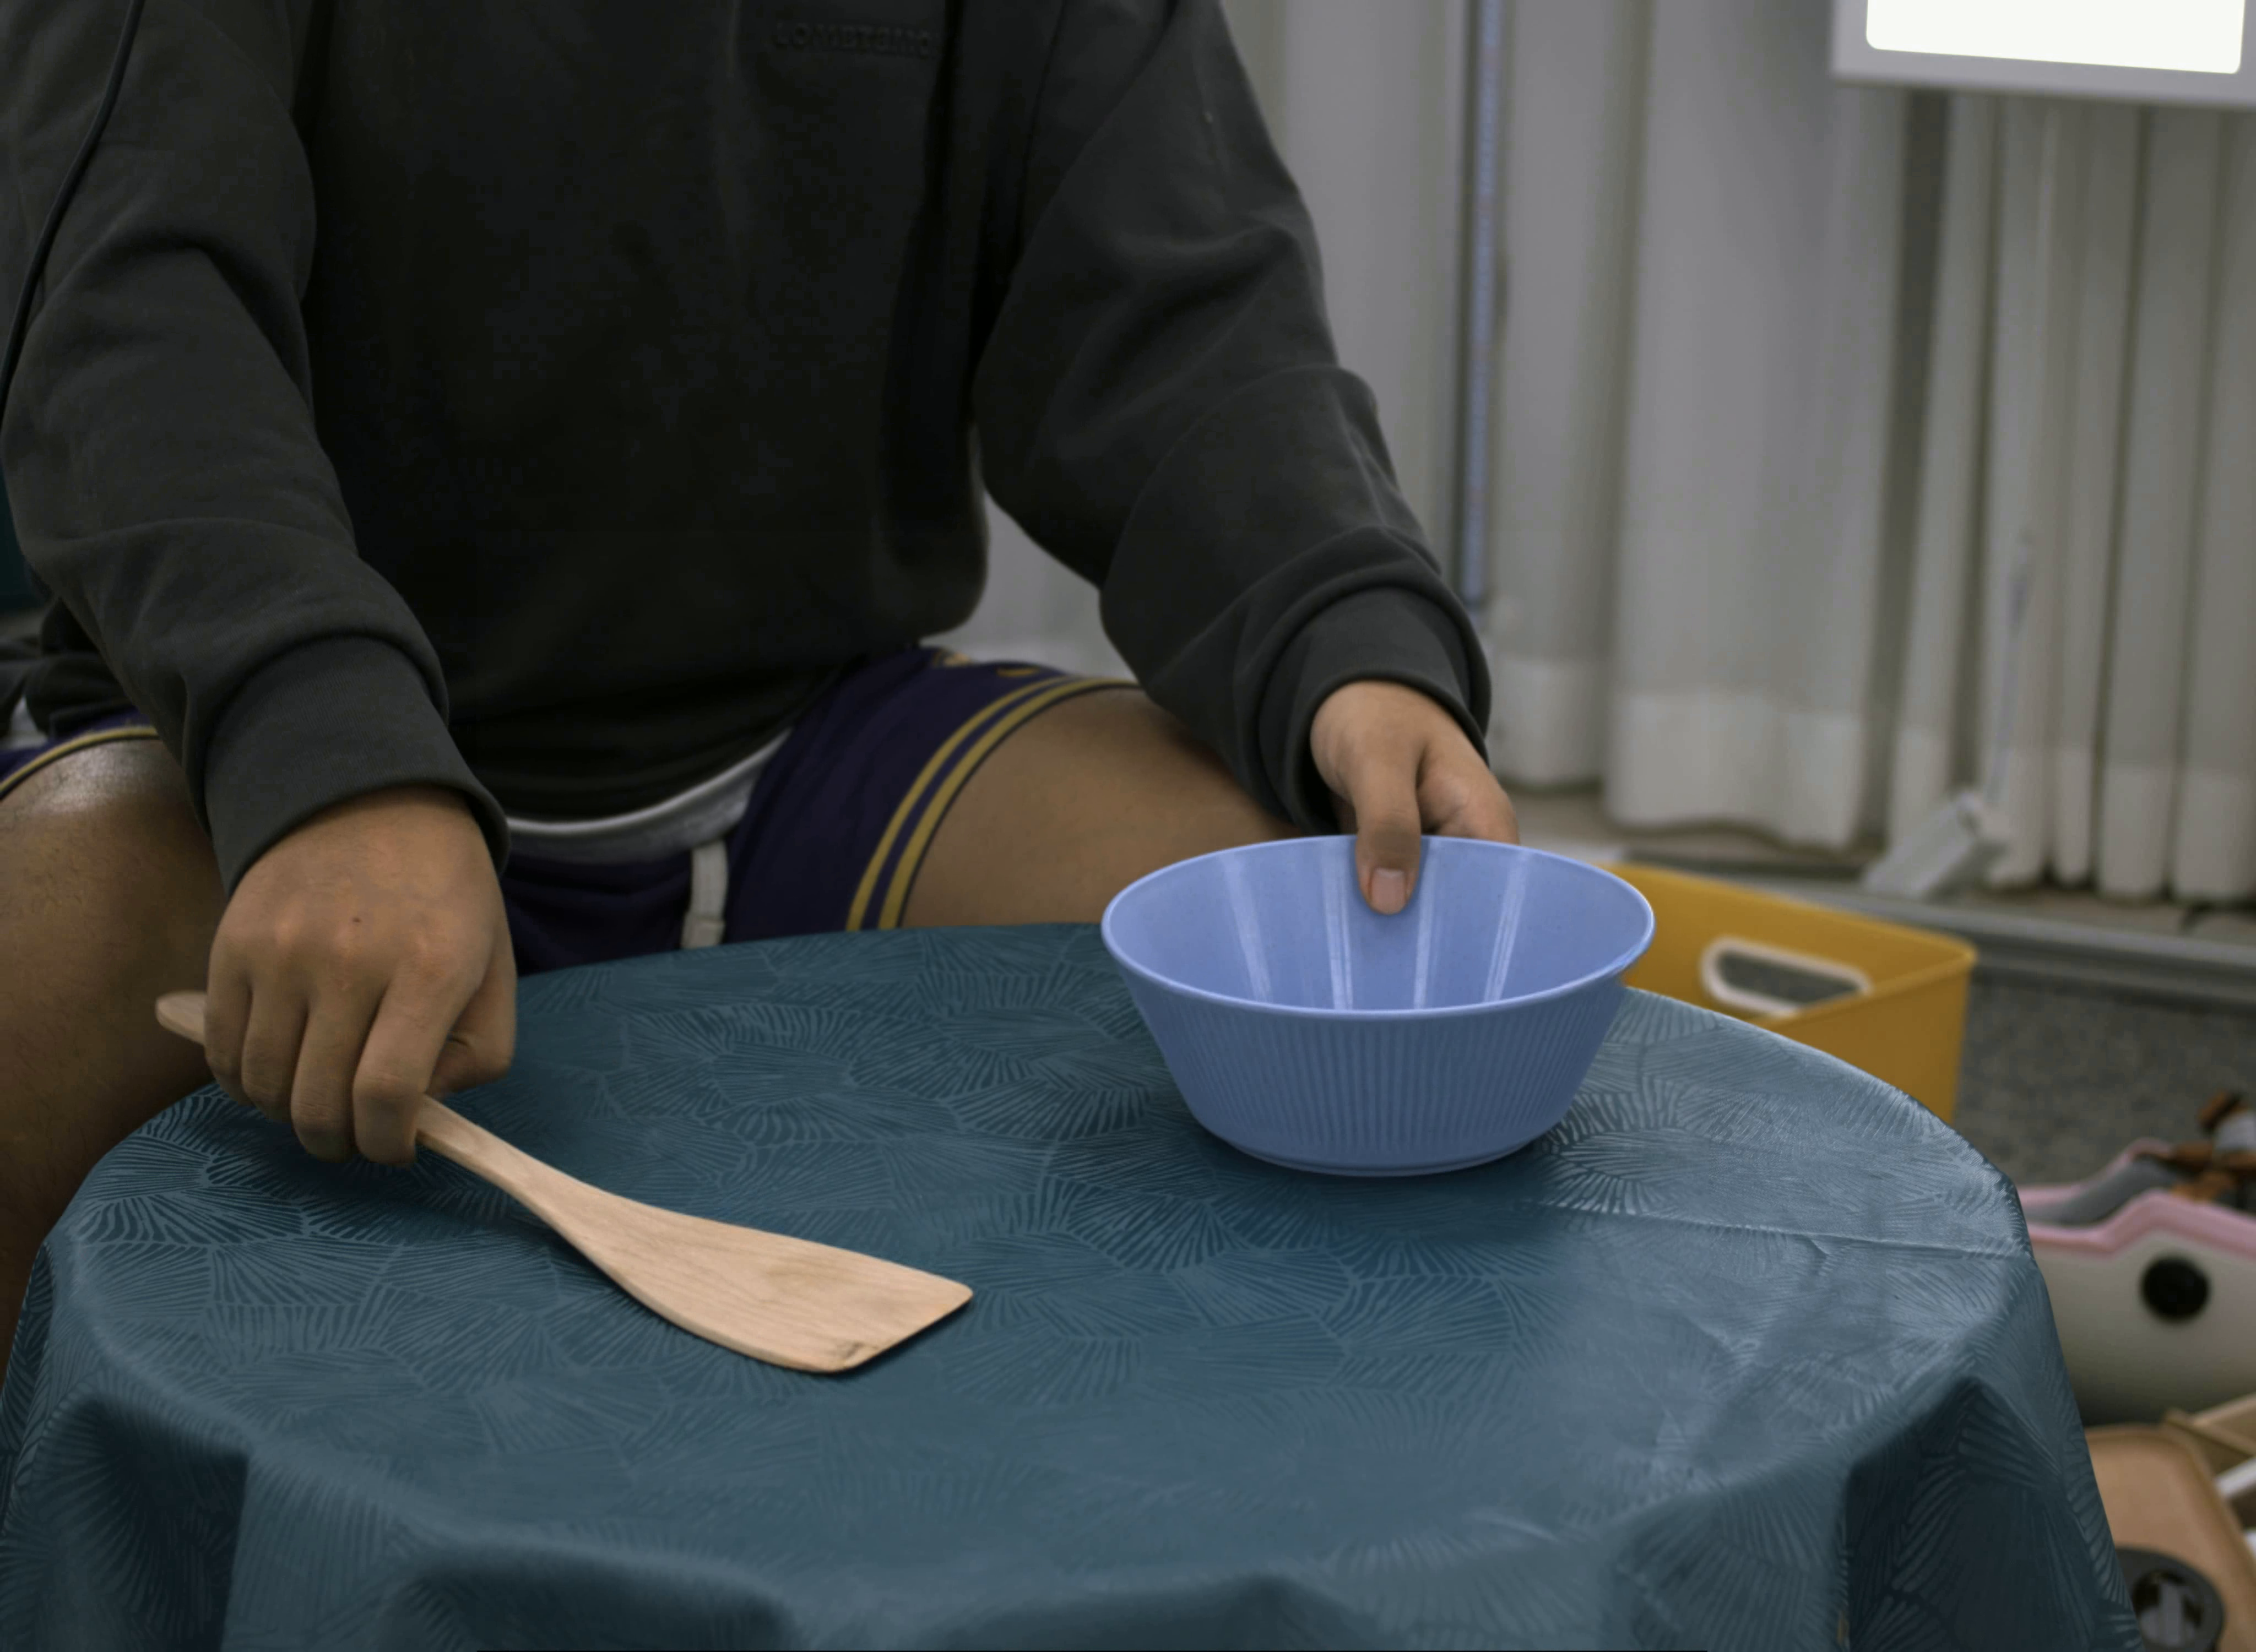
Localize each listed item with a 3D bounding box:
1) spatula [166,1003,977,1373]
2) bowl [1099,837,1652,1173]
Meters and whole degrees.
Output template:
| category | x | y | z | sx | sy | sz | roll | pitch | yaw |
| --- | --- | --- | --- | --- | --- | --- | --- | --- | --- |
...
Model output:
| category | x | y | z | sx | sy | sz | roll | pitch | yaw |
| --- | --- | --- | --- | --- | --- | --- | --- | --- | --- |
| spatula | -0.179 | 0.103 | 1.585 | 0.323 | 0.016 | 0.080 | 21 | 25 | 36 |
| bowl | 0.079 | 0.060 | 1.676 | 0.175 | 0.071 | 0.175 | 0 | 18 | 1 |
